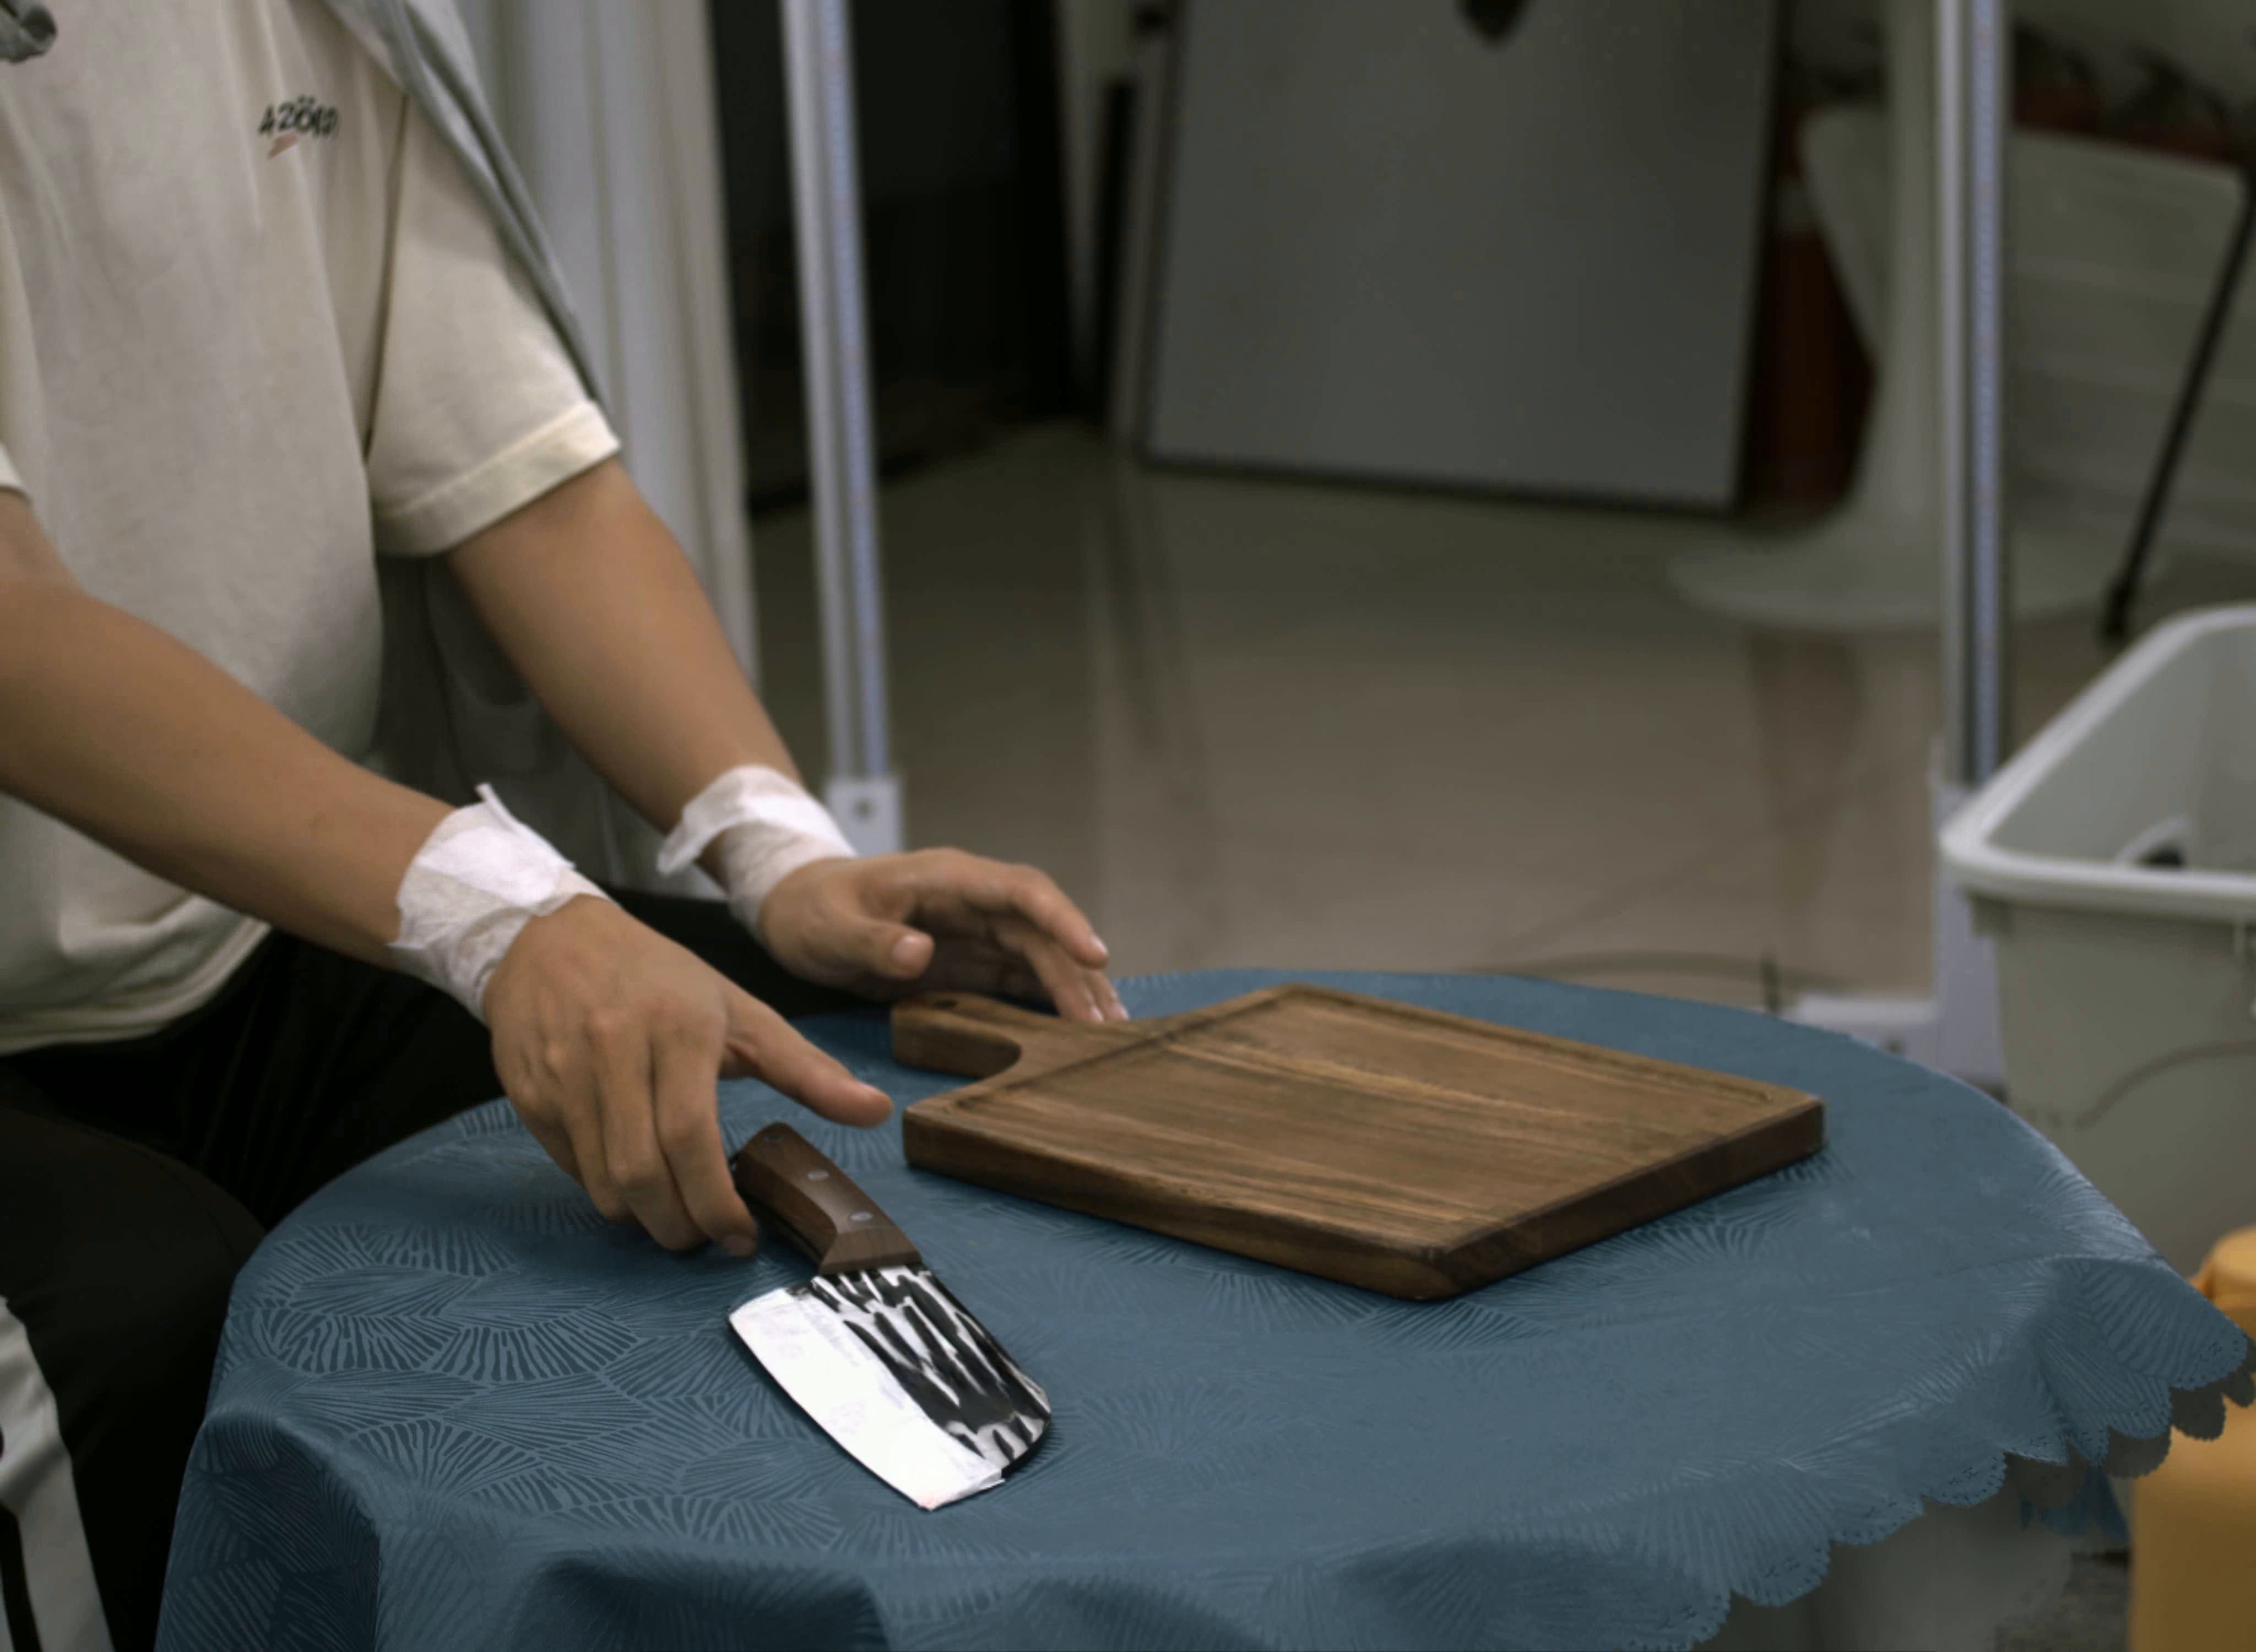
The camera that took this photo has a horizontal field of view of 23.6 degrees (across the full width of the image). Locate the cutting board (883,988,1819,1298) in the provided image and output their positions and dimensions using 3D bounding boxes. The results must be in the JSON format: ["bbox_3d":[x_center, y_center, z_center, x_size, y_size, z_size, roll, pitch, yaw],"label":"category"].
[{"bbox_3d":[0.042,0.095,1.826,0.197,0.023,0.355,-16,18,-41],"label":"cutting board"}]

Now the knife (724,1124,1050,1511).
[{"bbox_3d":[-0.084,0.149,1.647,0.067,0.024,0.302,-11,18,-16],"label":"knife"}]
